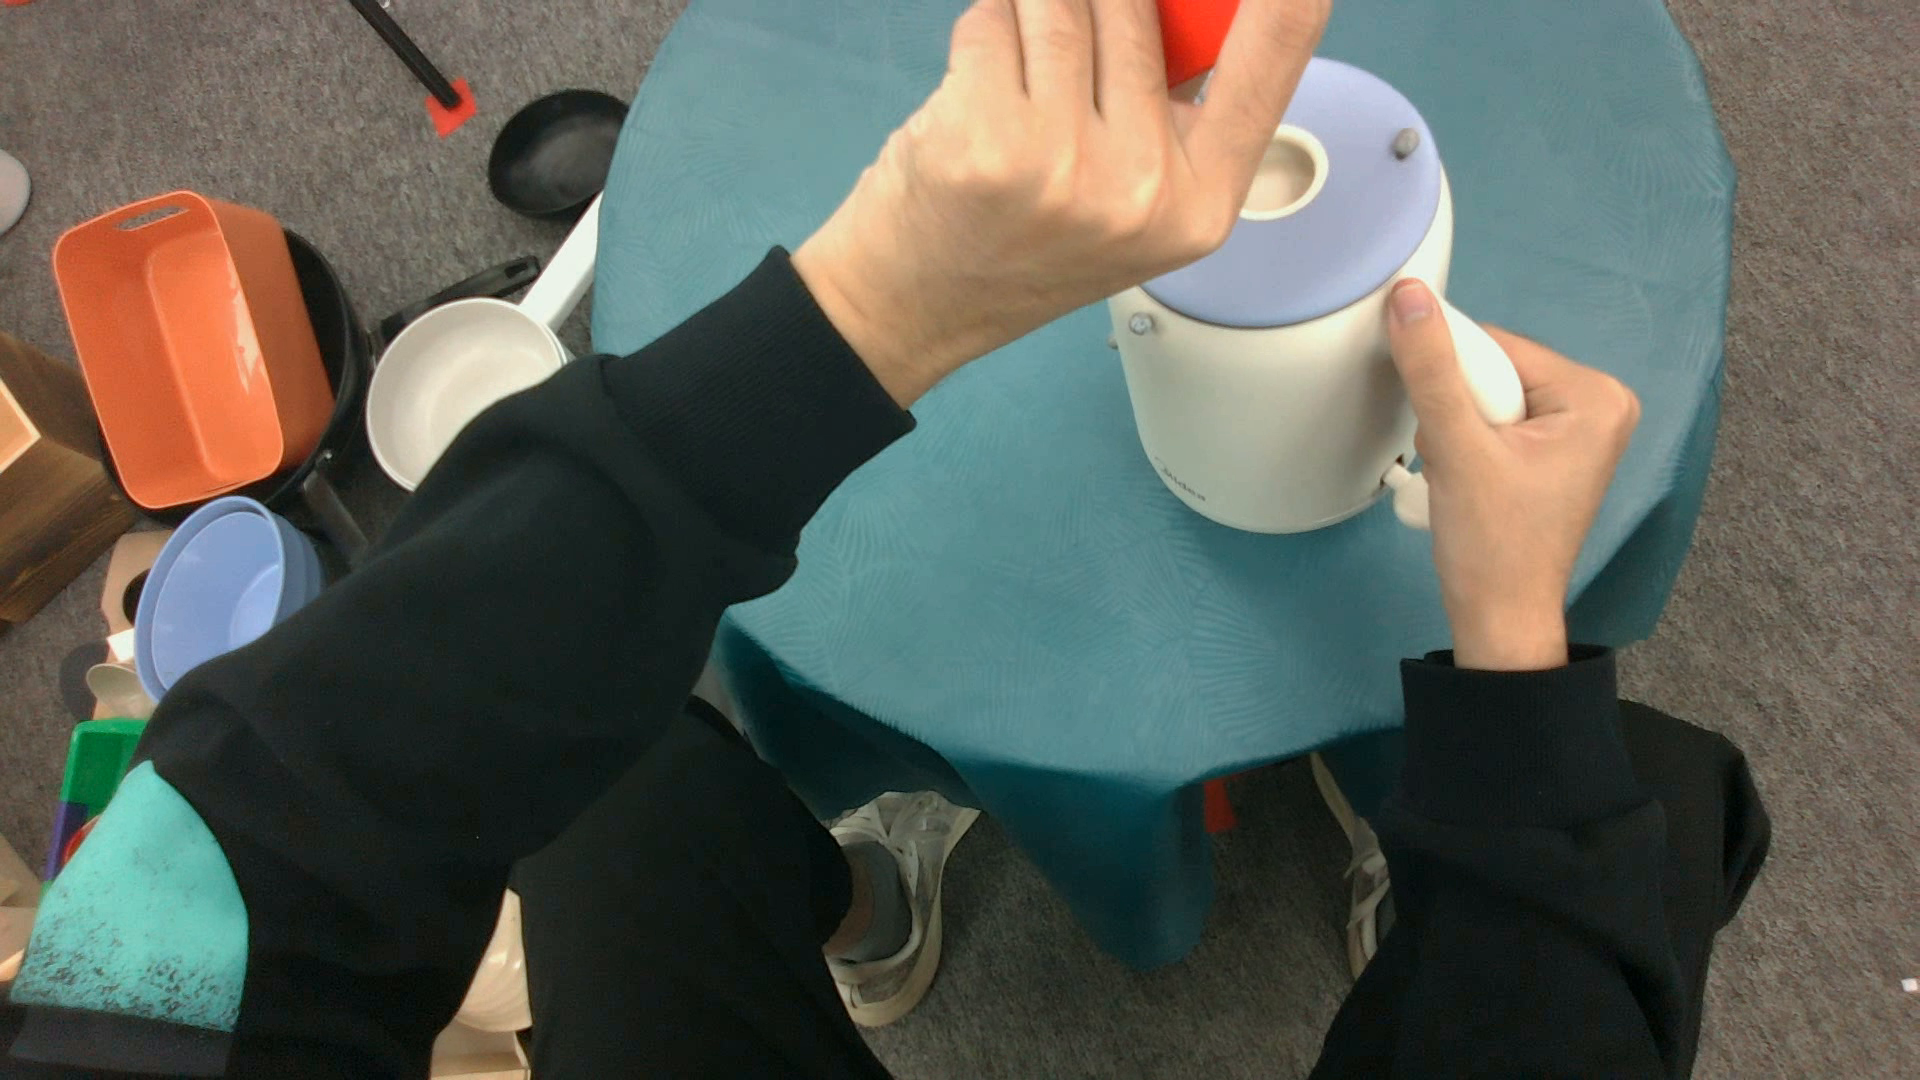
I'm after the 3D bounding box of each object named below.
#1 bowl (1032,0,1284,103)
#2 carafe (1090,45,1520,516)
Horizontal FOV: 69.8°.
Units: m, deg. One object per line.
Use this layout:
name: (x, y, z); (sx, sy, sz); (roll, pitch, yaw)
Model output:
bowl: (0.070, -0.192, 0.369); (0.148, 0.148, 0.104); (-39, 100, -3)
carafe: (0.143, -0.086, 0.566); (0.191, 0.182, 0.132); (41, 81, 24)
